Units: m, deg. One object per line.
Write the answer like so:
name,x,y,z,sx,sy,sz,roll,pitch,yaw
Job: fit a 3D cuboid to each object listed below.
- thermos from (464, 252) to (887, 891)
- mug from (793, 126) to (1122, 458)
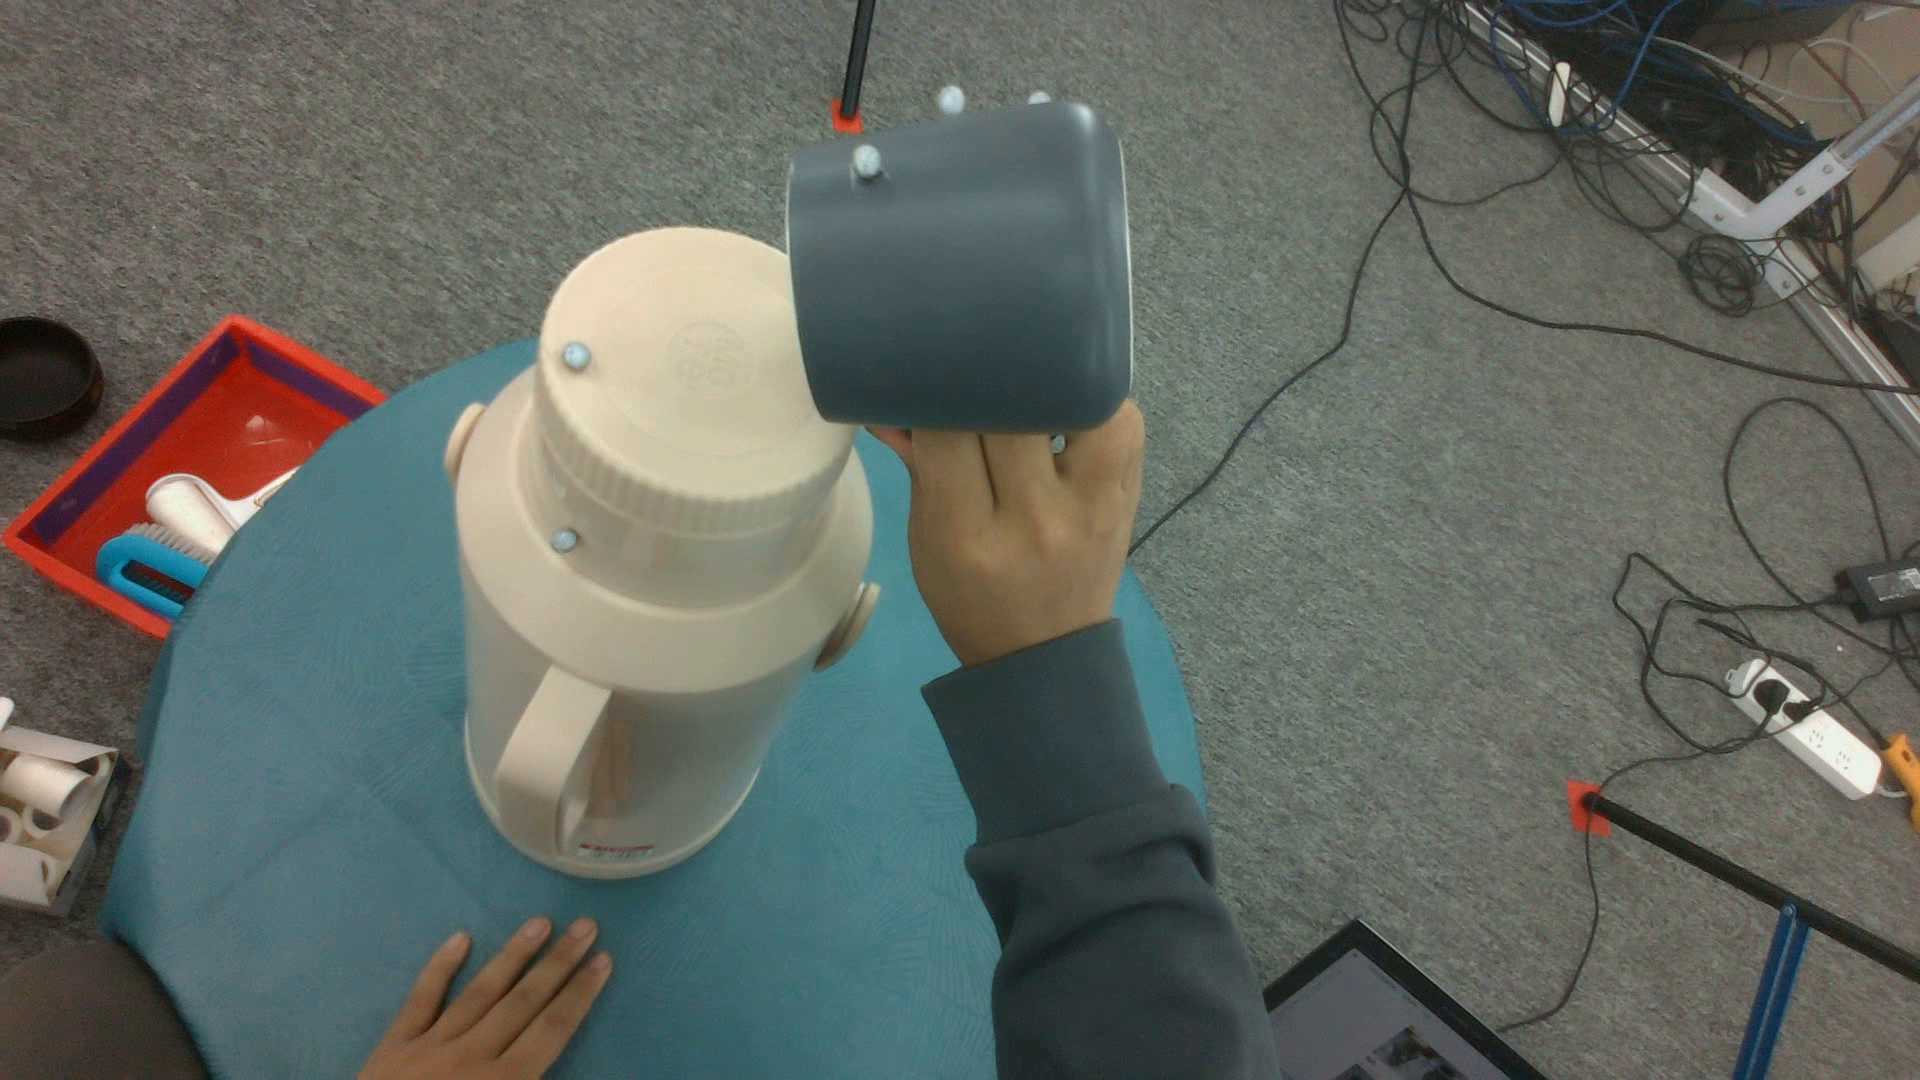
thermos,-0.139,0.047,0.620,0.175,0.404,0.208,22,59,-5
mug,0.002,-0.066,0.430,0.090,0.123,0.094,-5,58,3
